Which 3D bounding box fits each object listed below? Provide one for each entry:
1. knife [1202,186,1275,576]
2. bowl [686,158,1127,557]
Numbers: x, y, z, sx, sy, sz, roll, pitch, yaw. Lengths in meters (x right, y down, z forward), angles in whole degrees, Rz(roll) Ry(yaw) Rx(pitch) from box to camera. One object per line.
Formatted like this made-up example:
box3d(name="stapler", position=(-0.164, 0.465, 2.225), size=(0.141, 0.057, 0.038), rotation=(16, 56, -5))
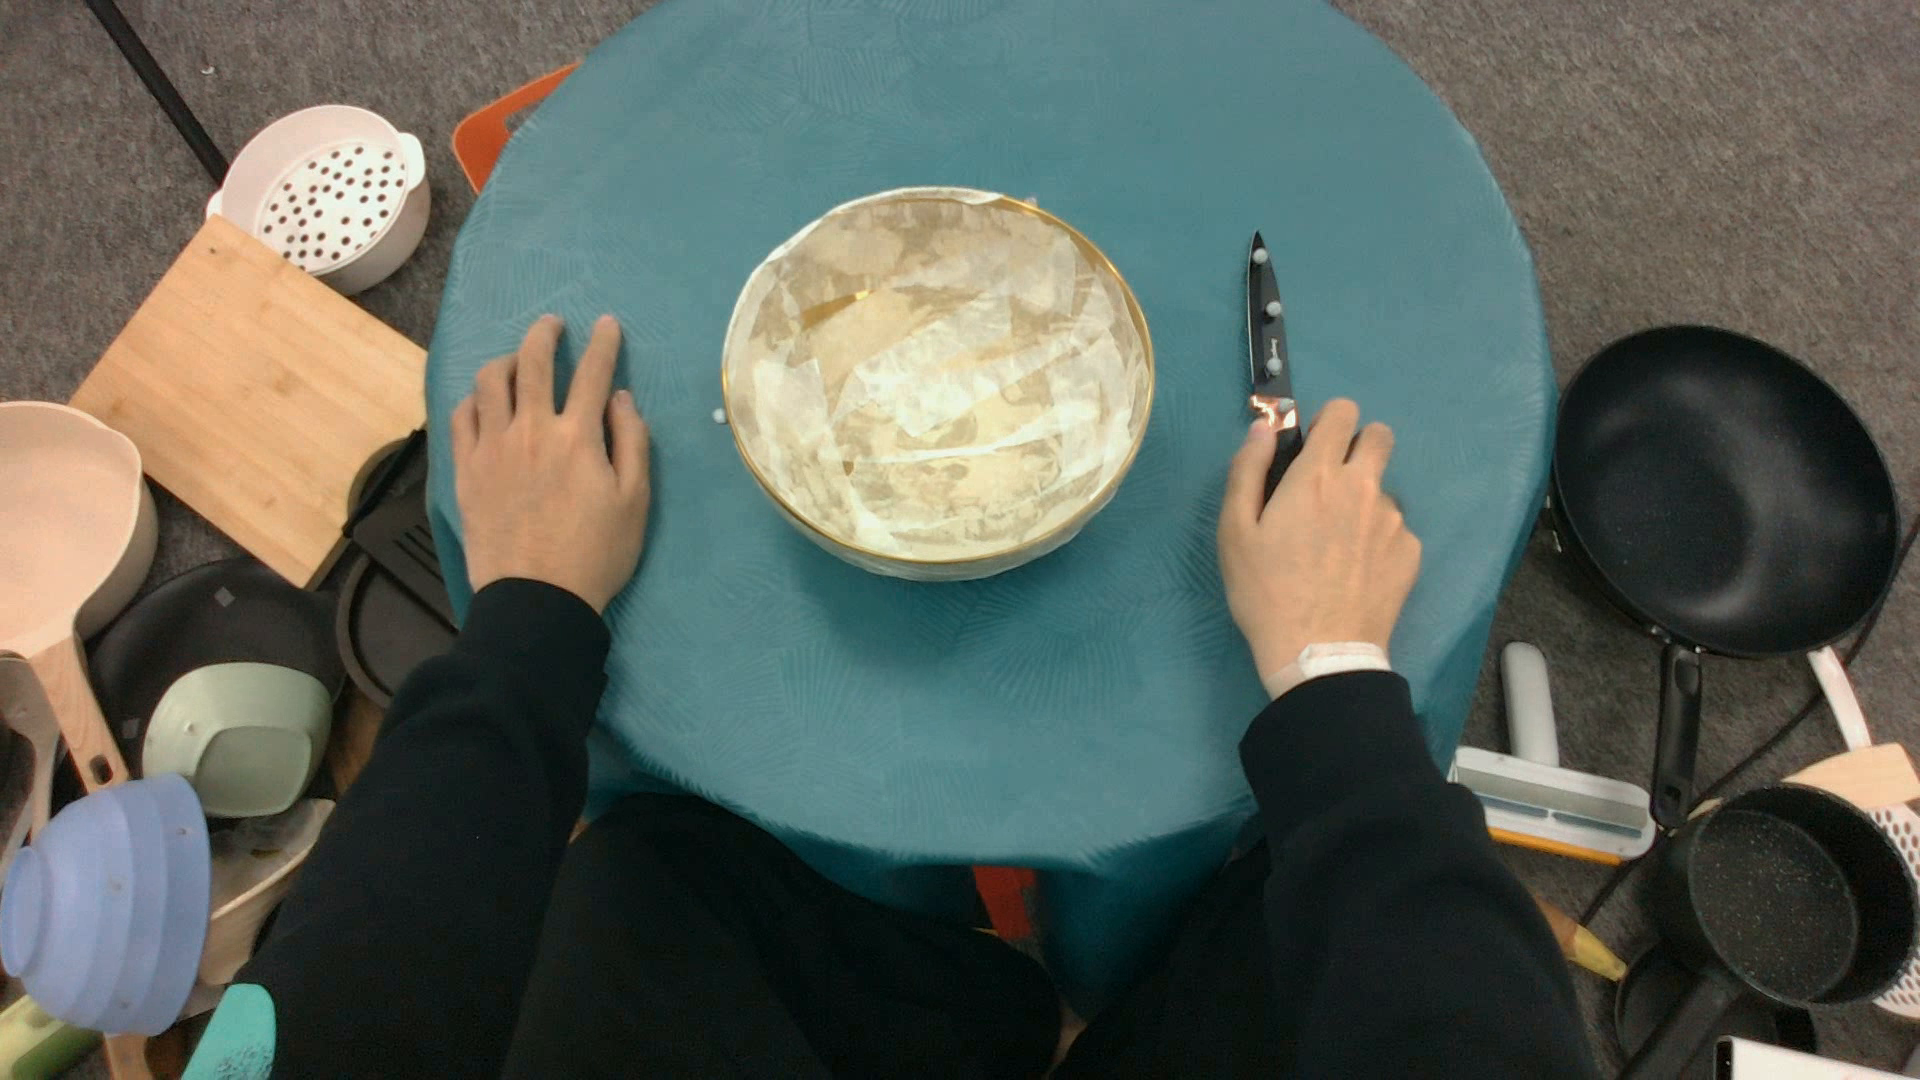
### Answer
box3d(name="knife", position=(0.144, -0.088, 0.716), size=(0.026, 0.017, 0.226), rotation=(9, 66, -24))
box3d(name="bowl", position=(-0.025, -0.073, 0.668), size=(0.215, 0.094, 0.215), rotation=(1, 67, -2))
